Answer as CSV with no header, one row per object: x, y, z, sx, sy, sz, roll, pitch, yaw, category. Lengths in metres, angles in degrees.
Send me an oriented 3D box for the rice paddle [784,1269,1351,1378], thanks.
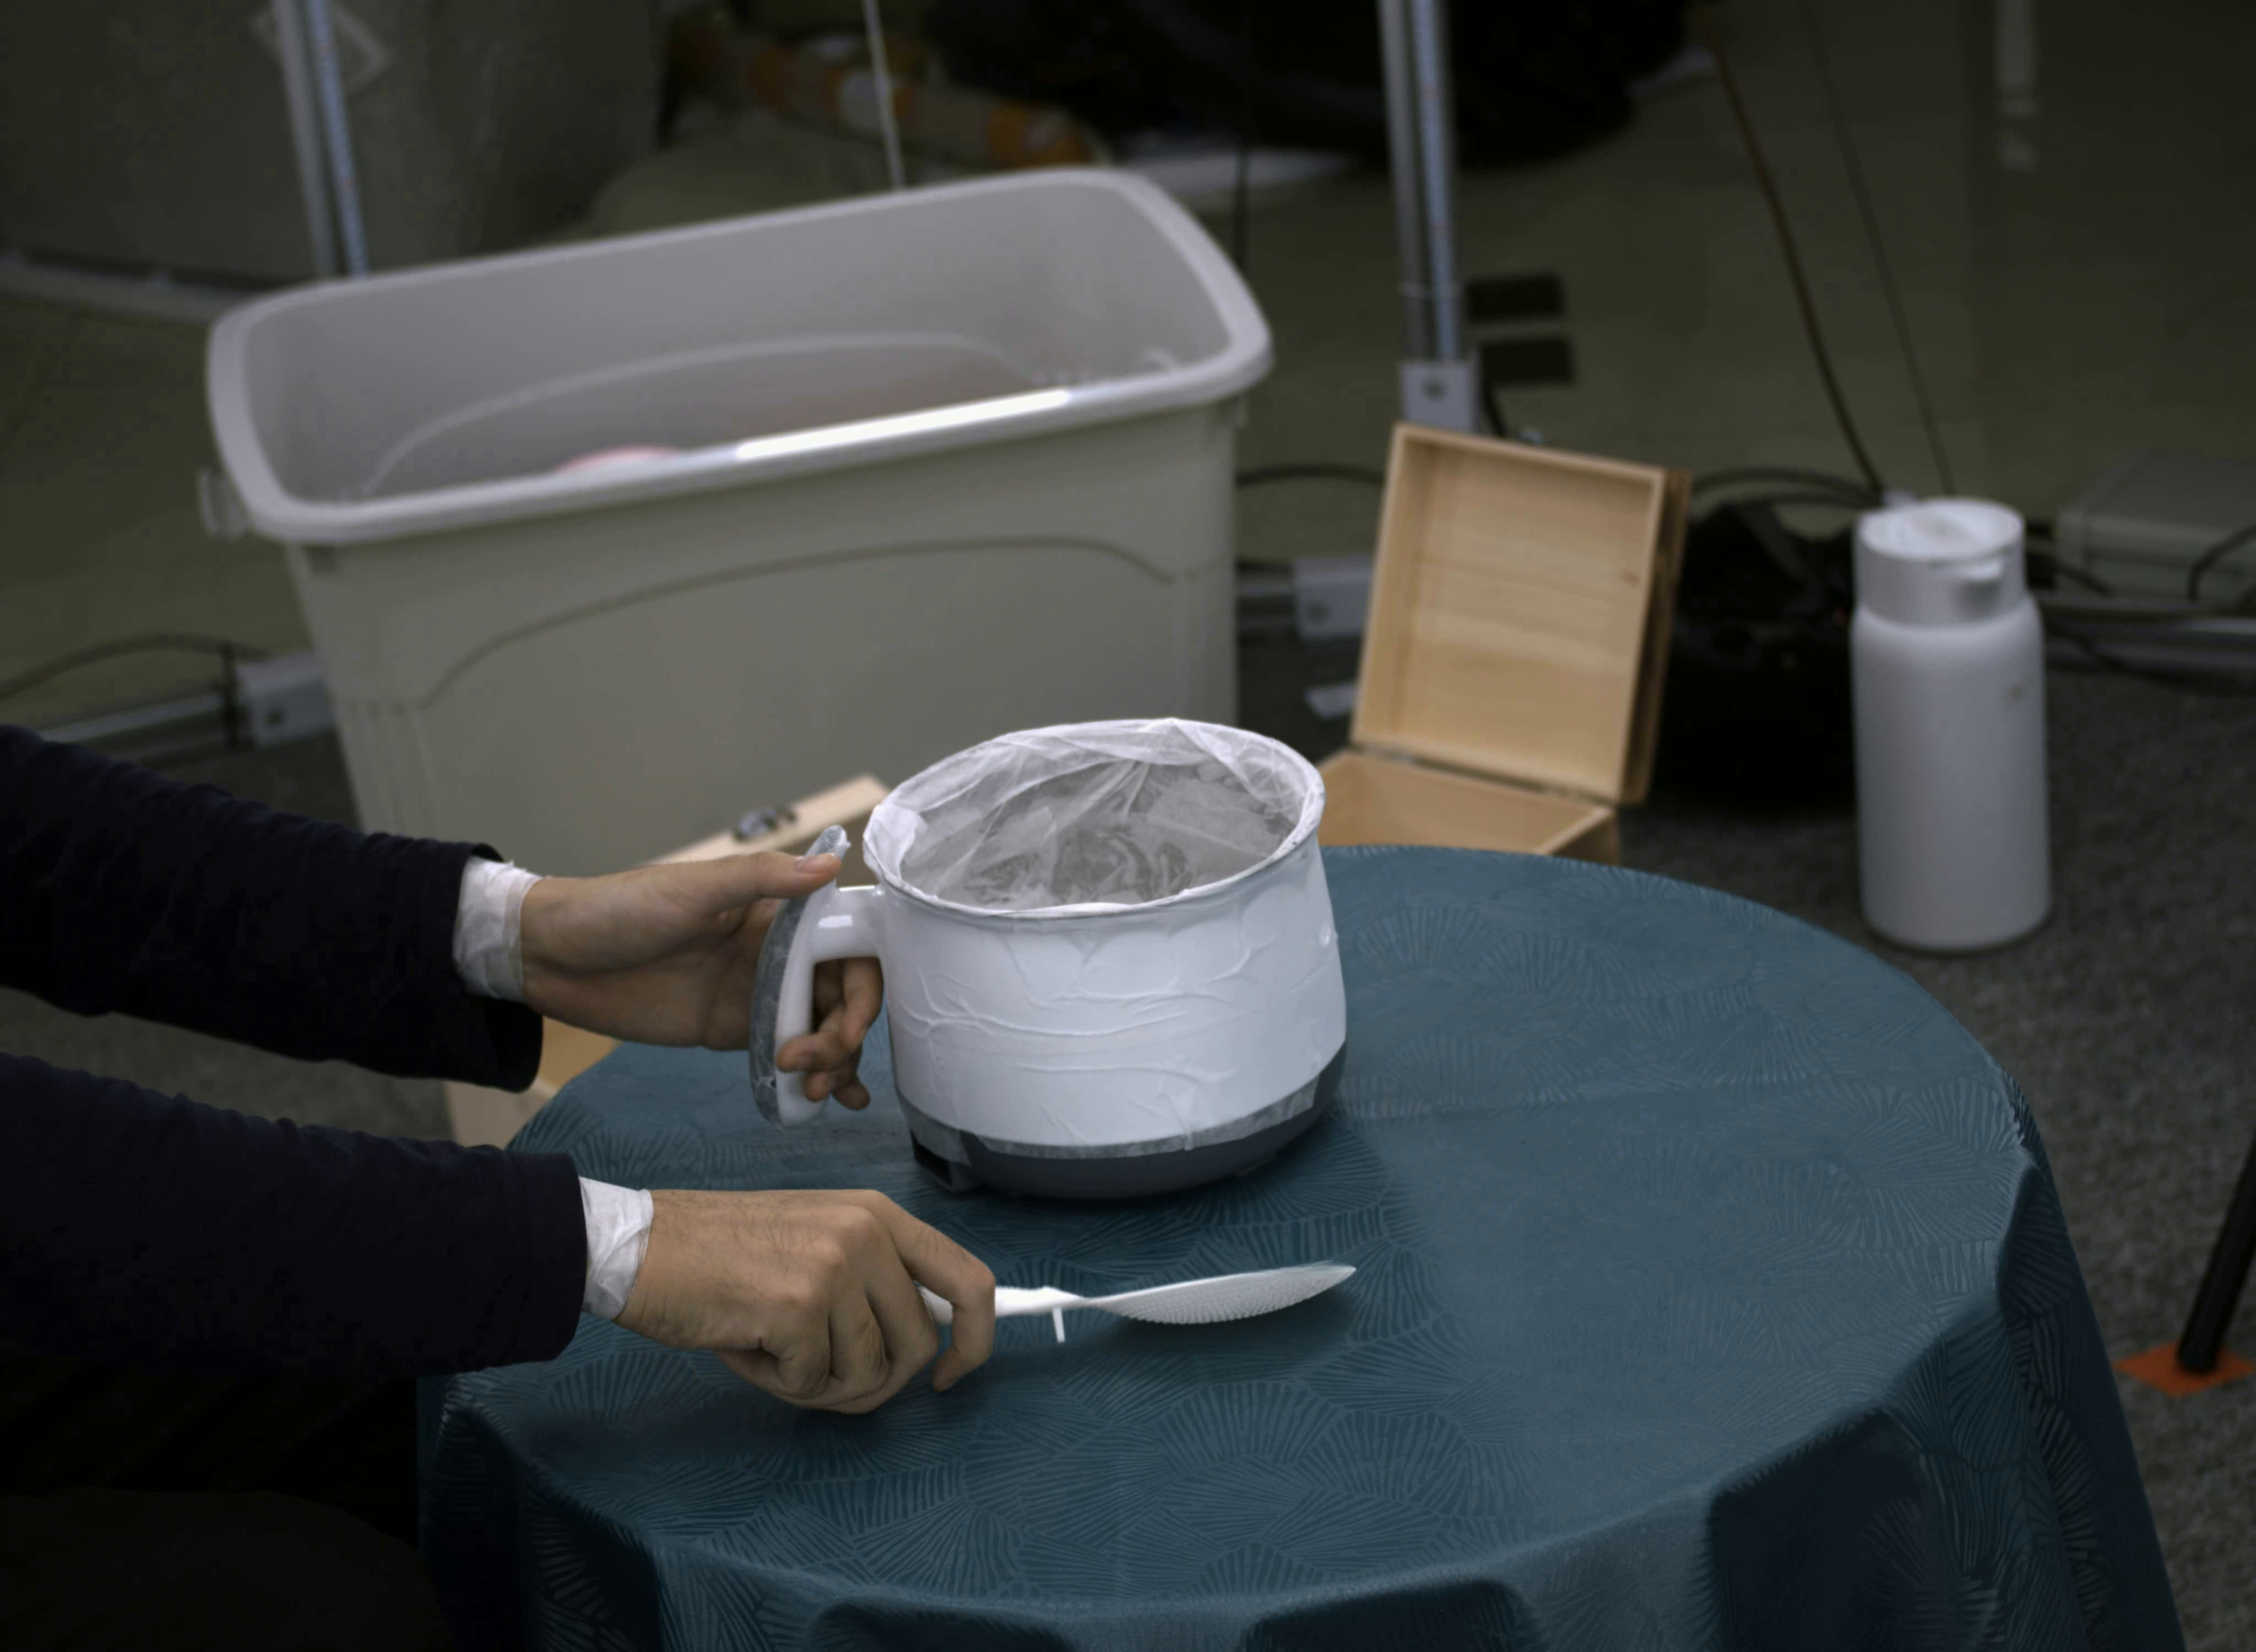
-0.021,0.170,2.040,0.205,0.029,0.069,-7,-5,-6,rice paddle

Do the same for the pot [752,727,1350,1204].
-0.033,0.058,2.177,0.233,0.139,0.176,-7,23,2,pot
